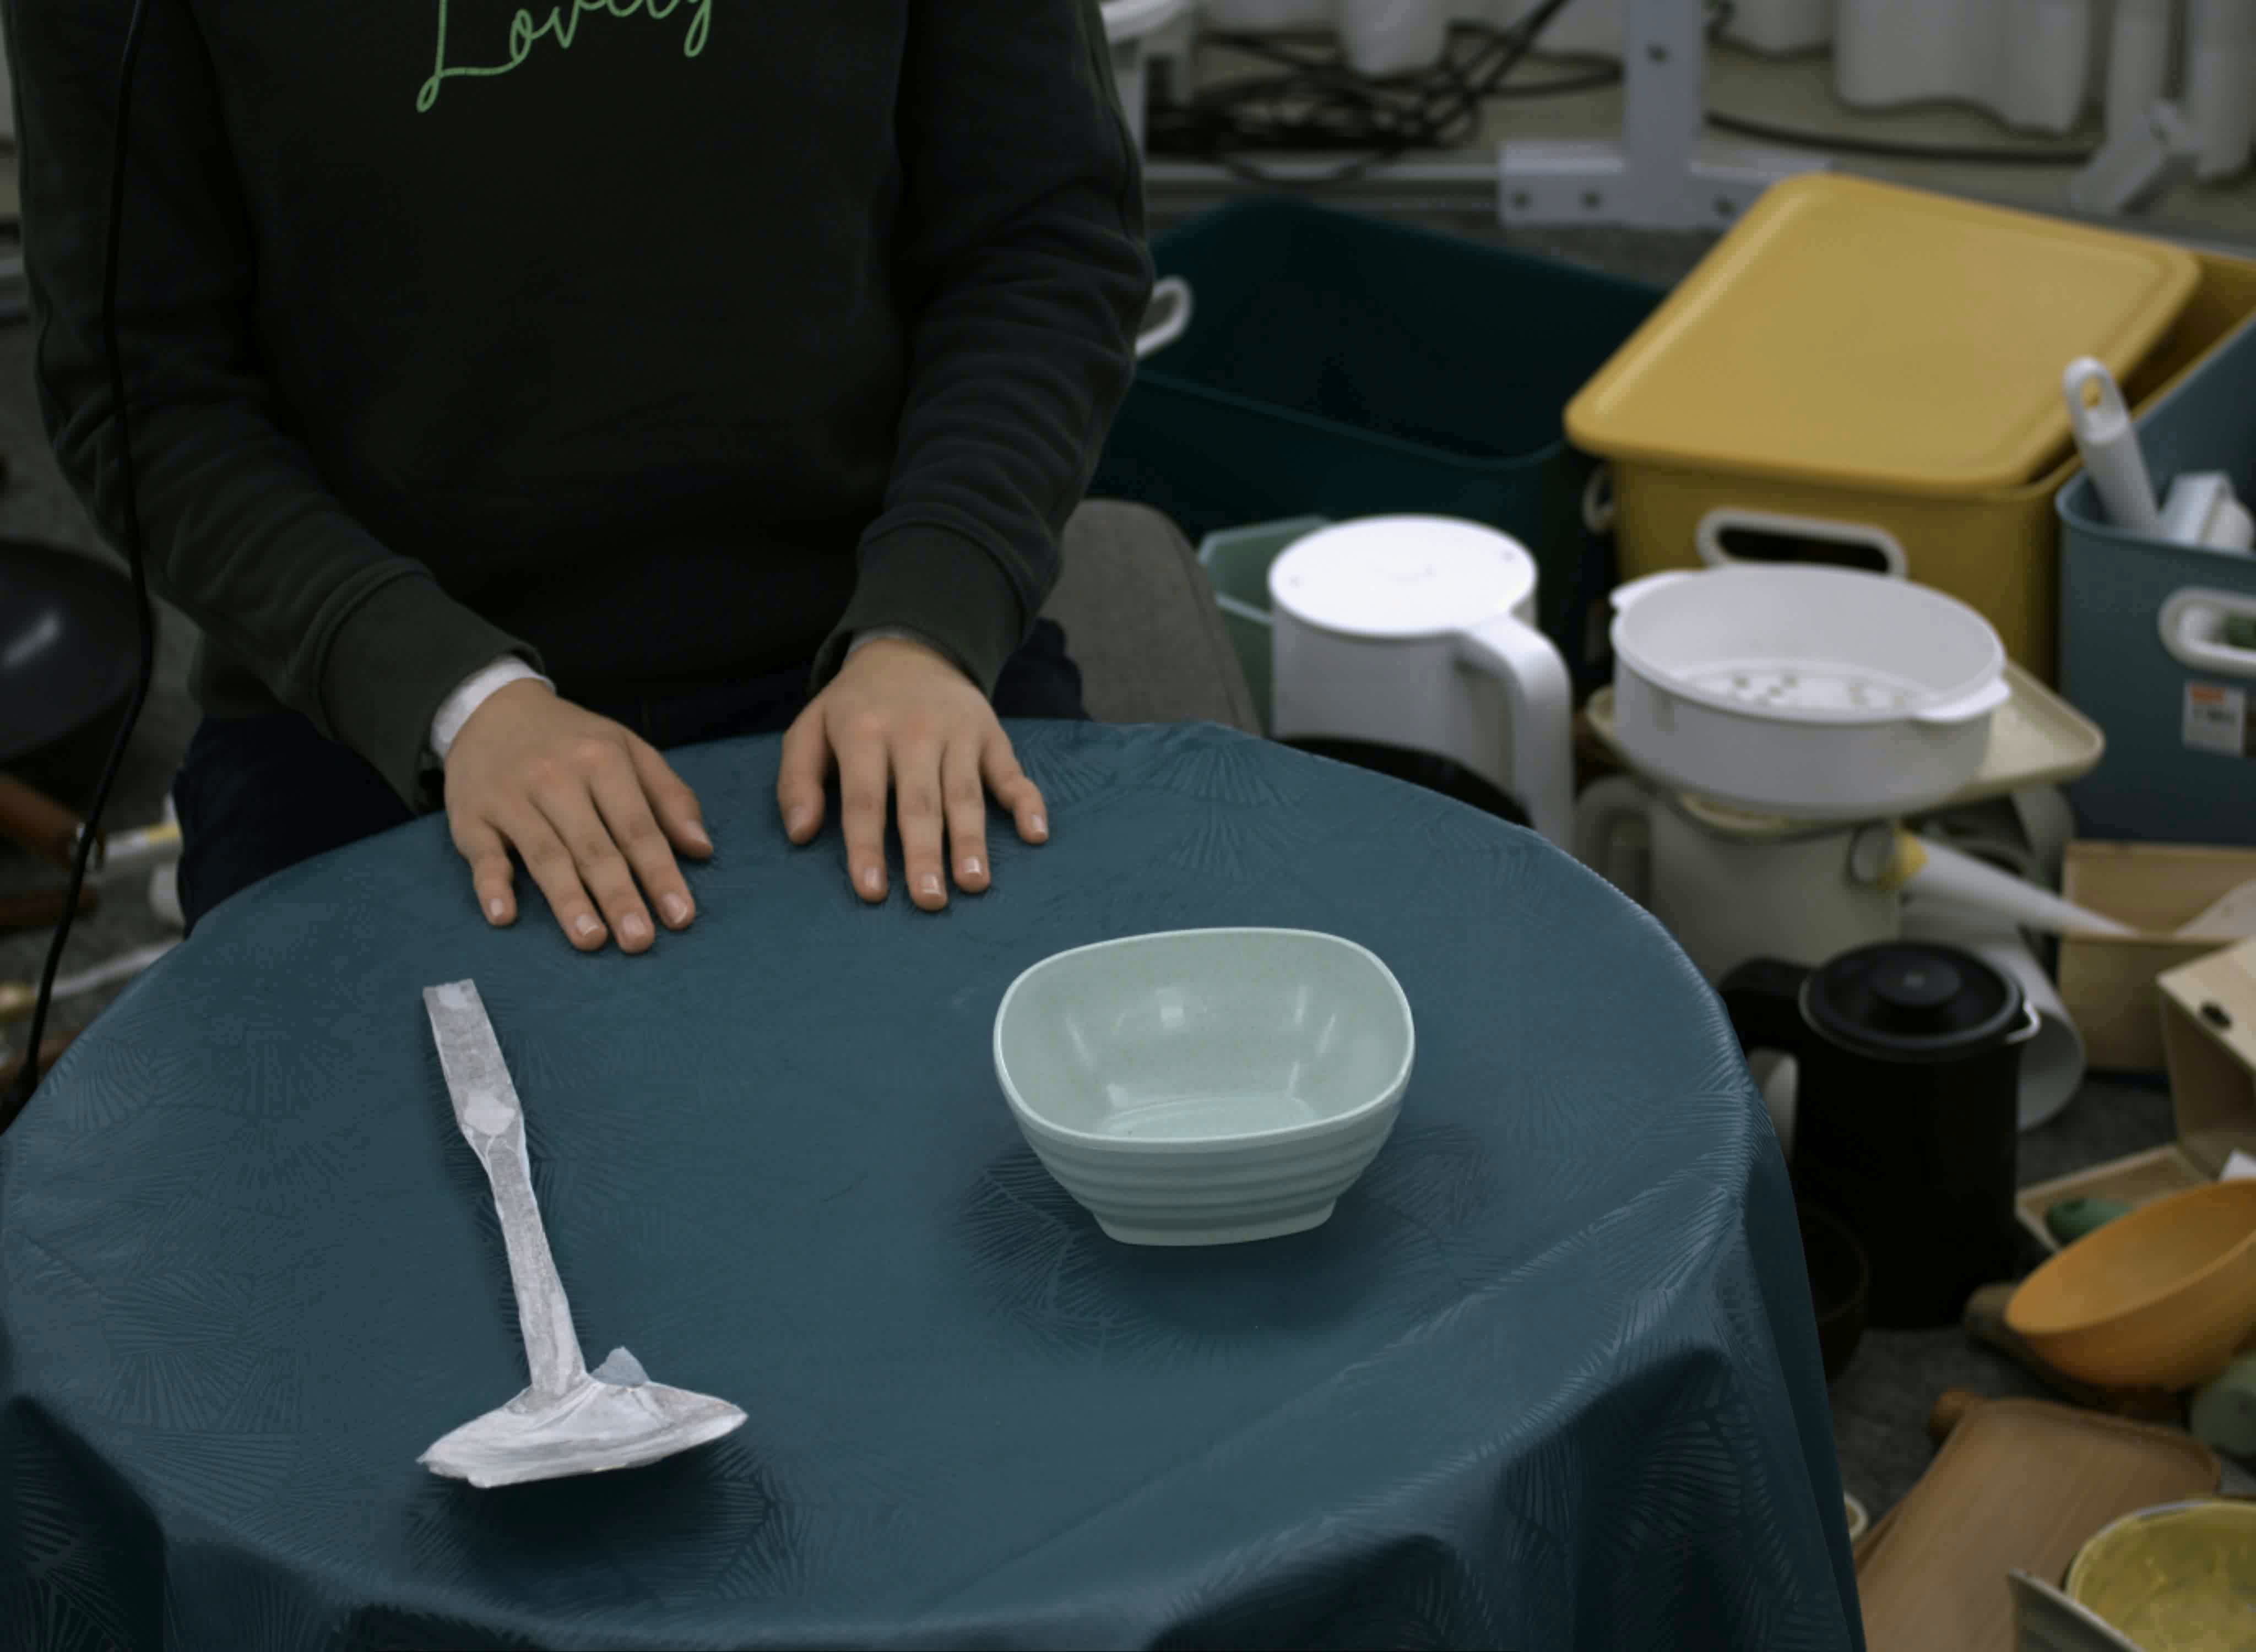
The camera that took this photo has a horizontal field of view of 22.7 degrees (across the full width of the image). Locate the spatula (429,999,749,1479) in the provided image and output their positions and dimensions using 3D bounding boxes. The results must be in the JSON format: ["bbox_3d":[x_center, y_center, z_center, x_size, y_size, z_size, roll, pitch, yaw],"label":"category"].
[{"bbox_3d":[-0.194,0.126,1.830,0.098,0.044,0.369,-10,28,-9],"label":"spatula"}]

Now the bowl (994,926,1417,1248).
[{"bbox_3d":[0.025,0.092,1.855,0.151,0.058,0.154,0,28,0],"label":"bowl"}]
